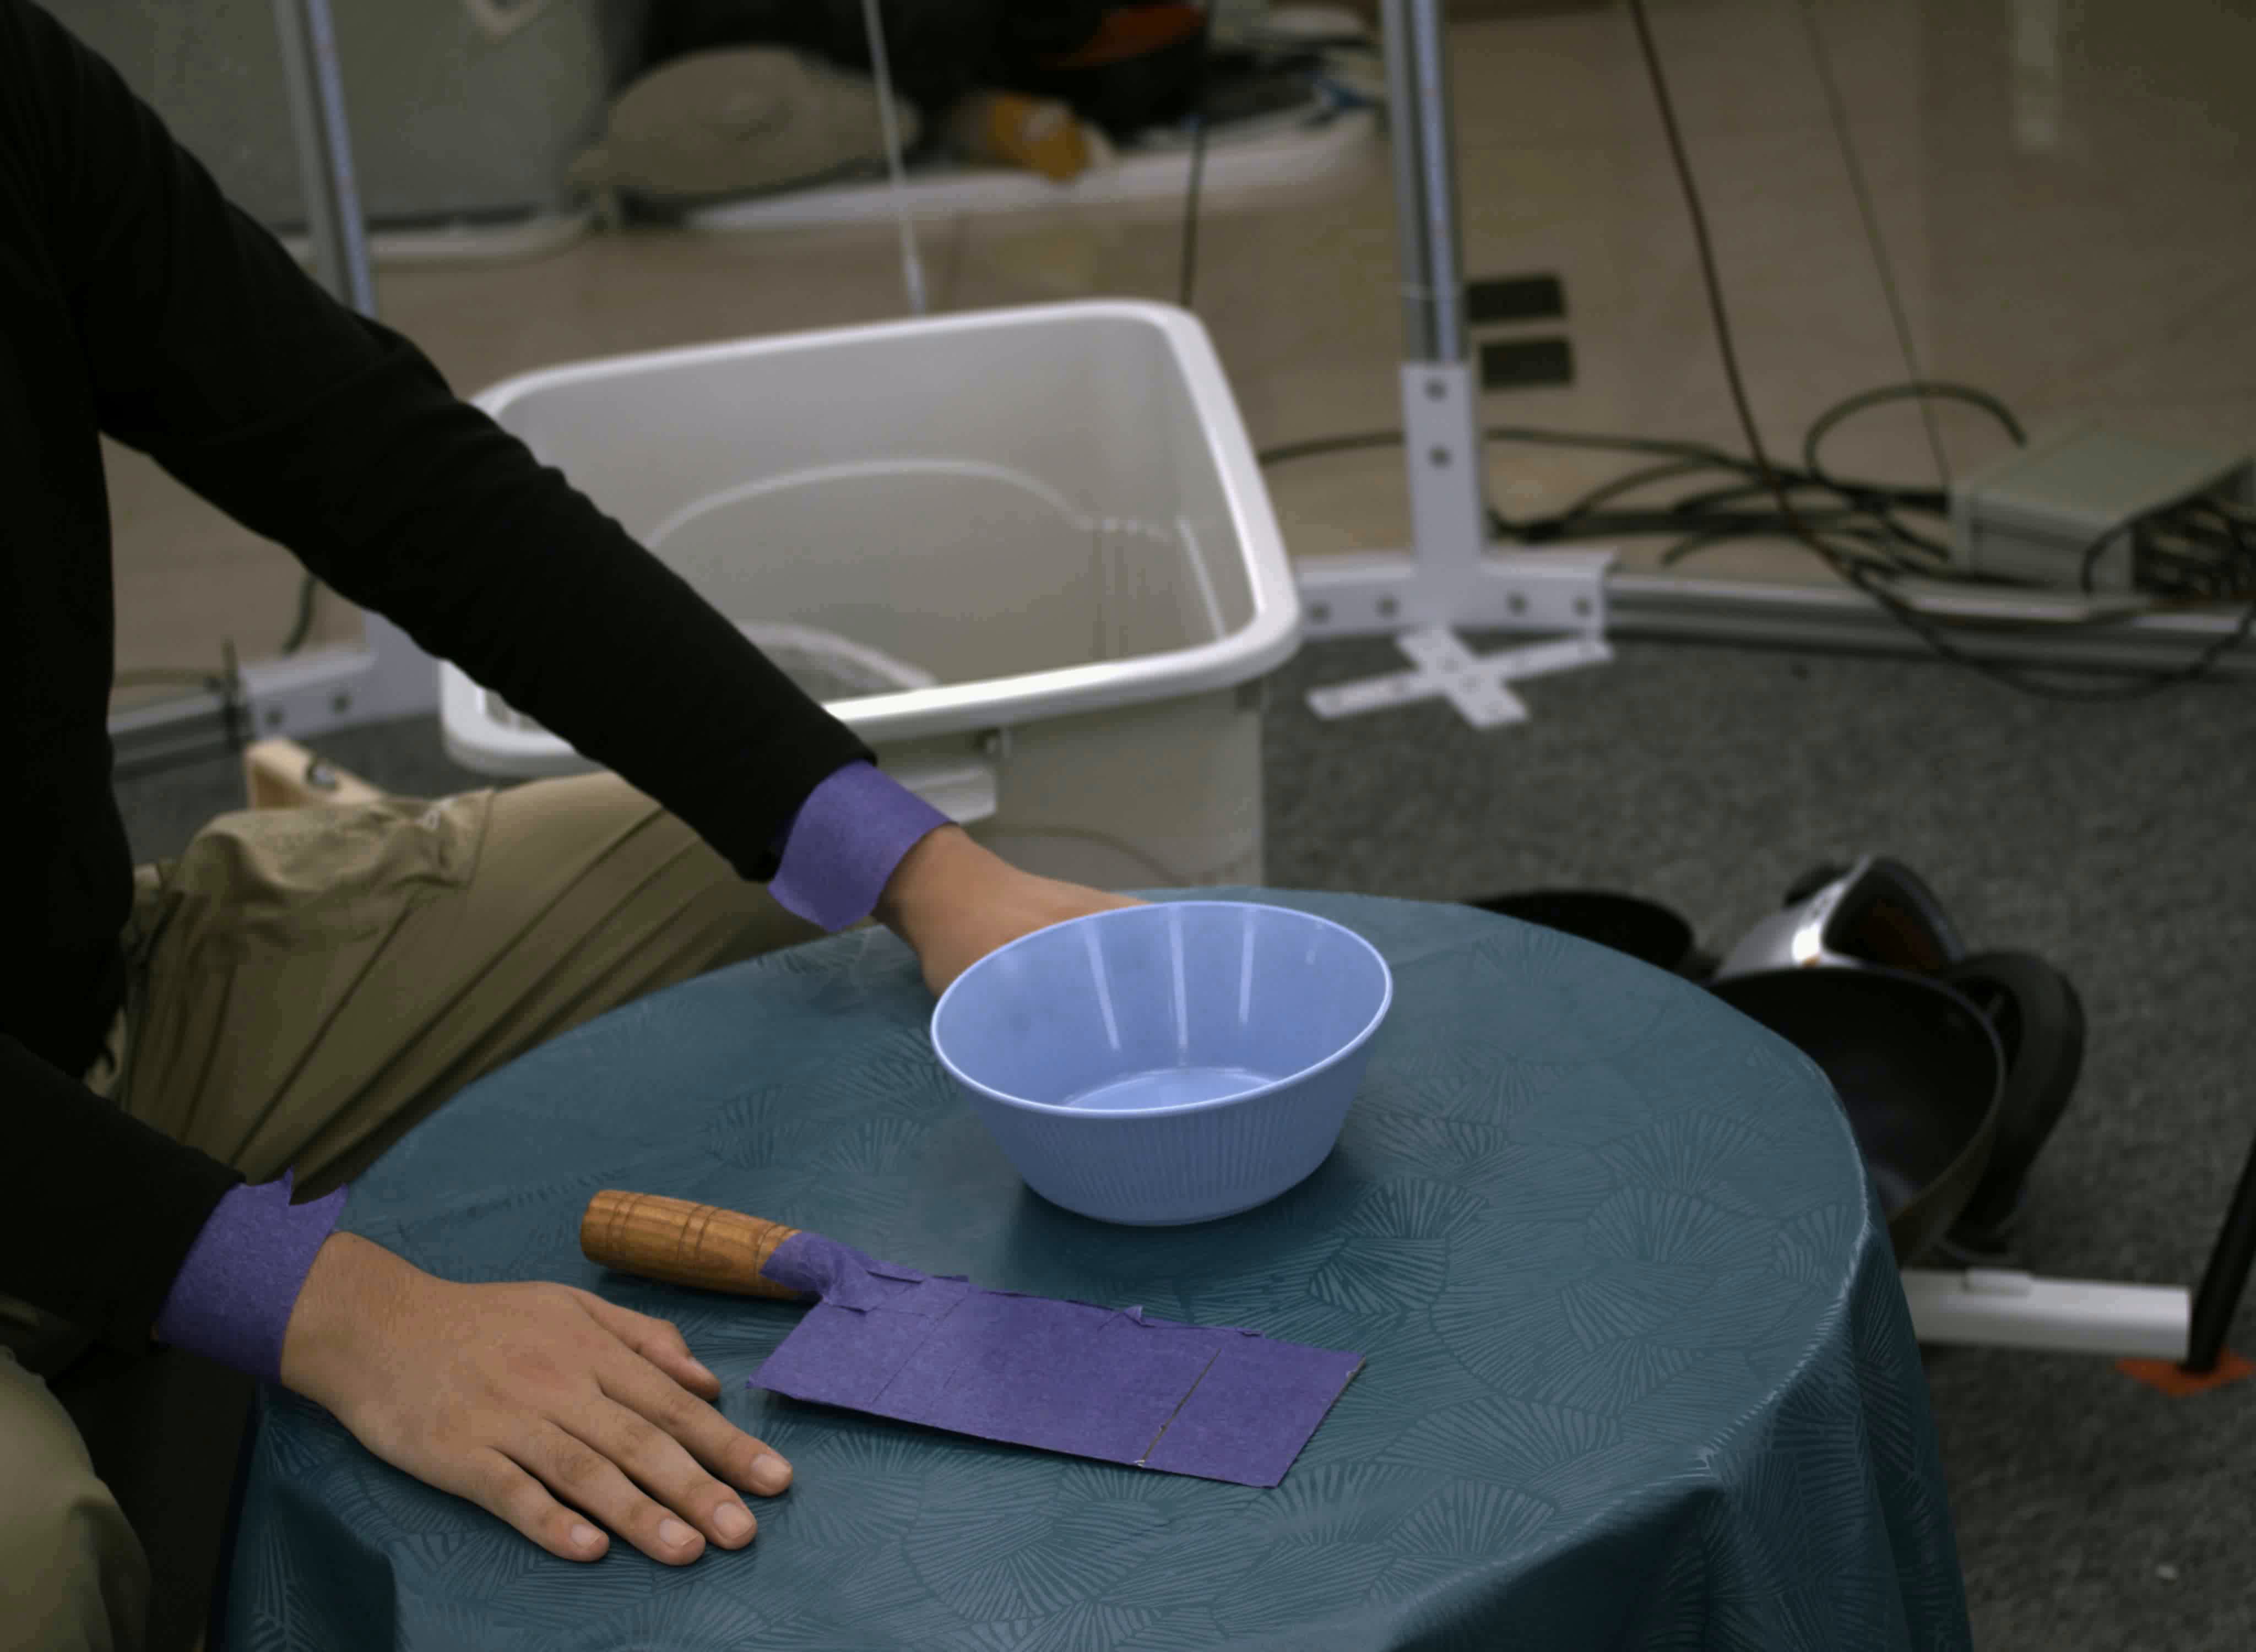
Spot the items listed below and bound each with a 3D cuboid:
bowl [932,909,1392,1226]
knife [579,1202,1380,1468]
[{"bbox_3d":[0.016,0.097,2.151,0.176,0.071,0.173,-6,23,3],"label":"bowl"},{"bbox_3d":[-0.071,0.182,2.043,0.314,0.033,0.102,6,27,24],"label":"knife"}]
